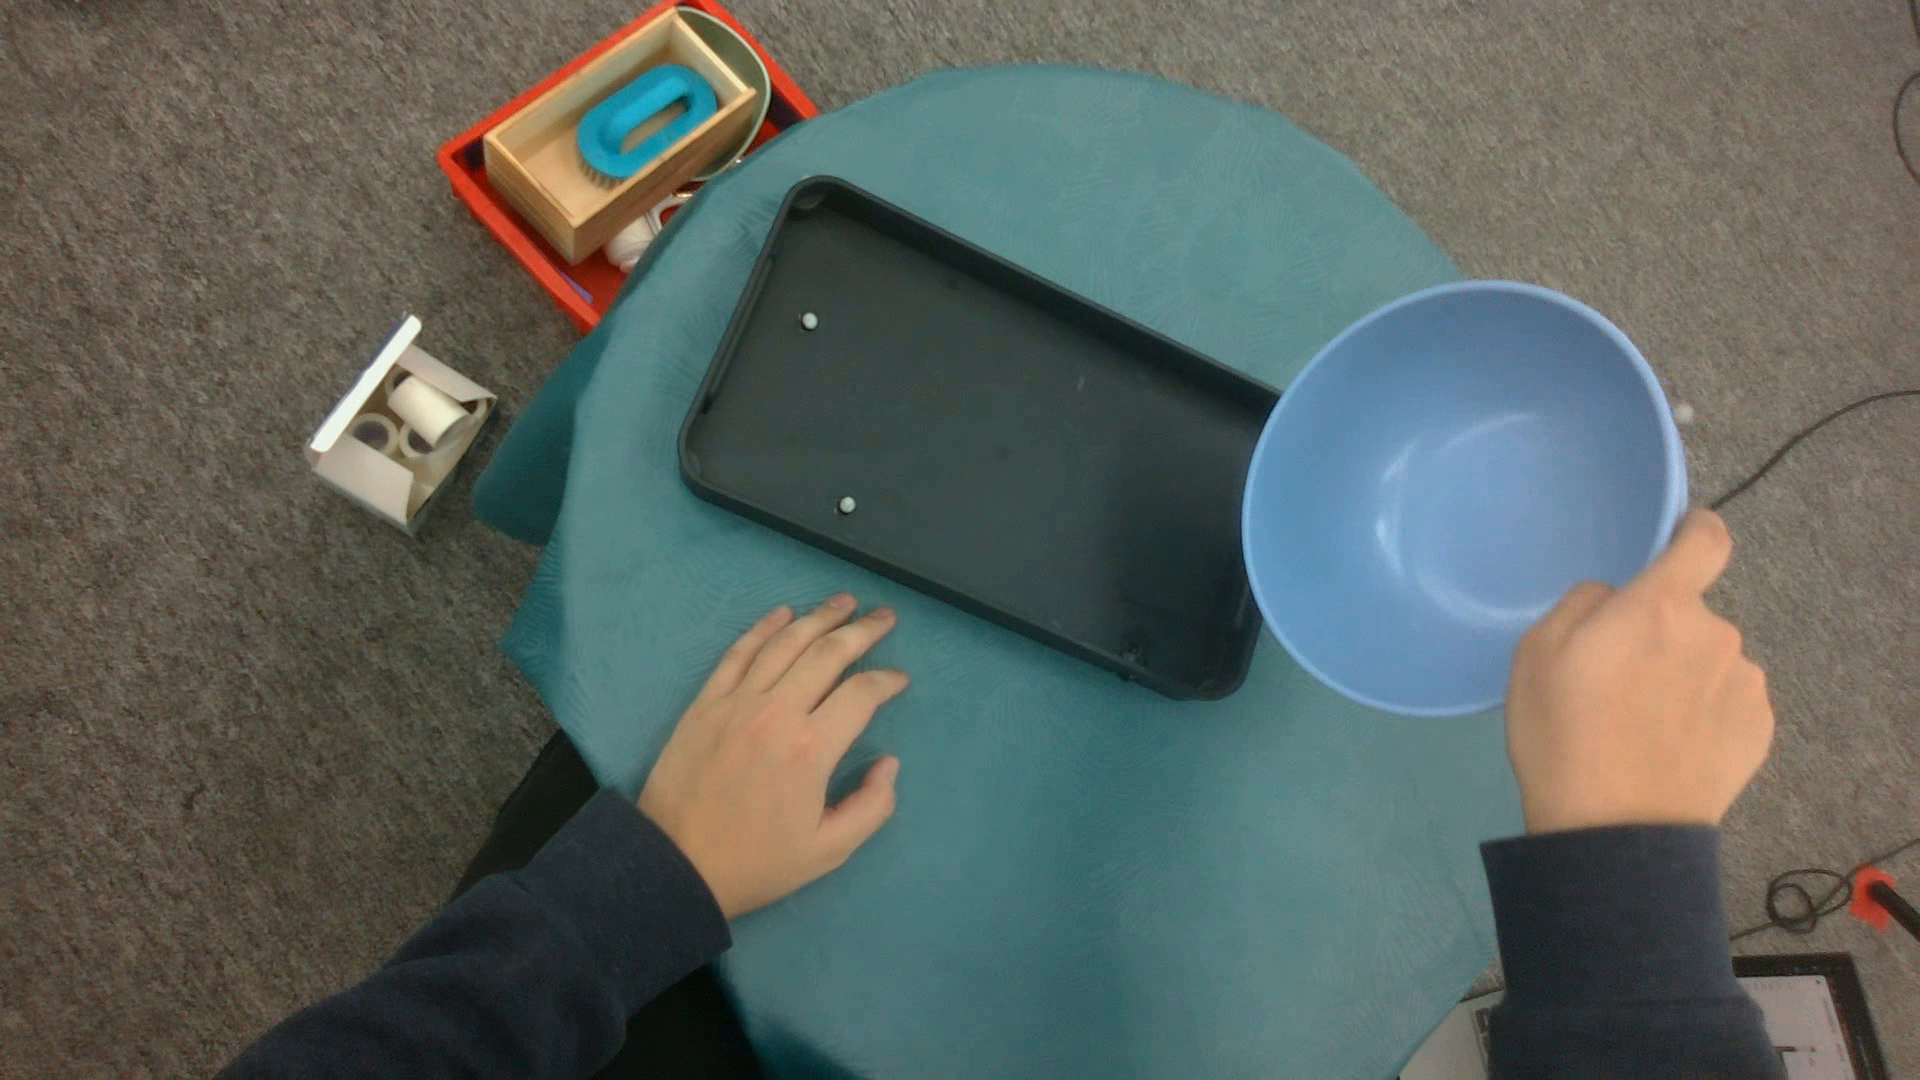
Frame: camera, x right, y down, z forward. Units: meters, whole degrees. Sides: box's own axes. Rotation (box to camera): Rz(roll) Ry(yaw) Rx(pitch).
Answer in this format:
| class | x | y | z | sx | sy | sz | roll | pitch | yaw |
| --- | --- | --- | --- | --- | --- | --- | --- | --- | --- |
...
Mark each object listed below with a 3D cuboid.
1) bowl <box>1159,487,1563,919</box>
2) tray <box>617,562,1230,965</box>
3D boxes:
| class | x | y | z | sx | sy | sz | roll | pitch | yaw |
| --- | --- | --- | --- | --- | --- | --- | --- | --- | --- |
| bowl | 0.202 | 0.079 | 0.661 | 0.095 | 0.195 | 0.197 | 13 | 52 | -43 |
| tray | -0.012 | 0.121 | 0.748 | 0.318 | 0.037 | 0.185 | 10 | 59 | -8 |
